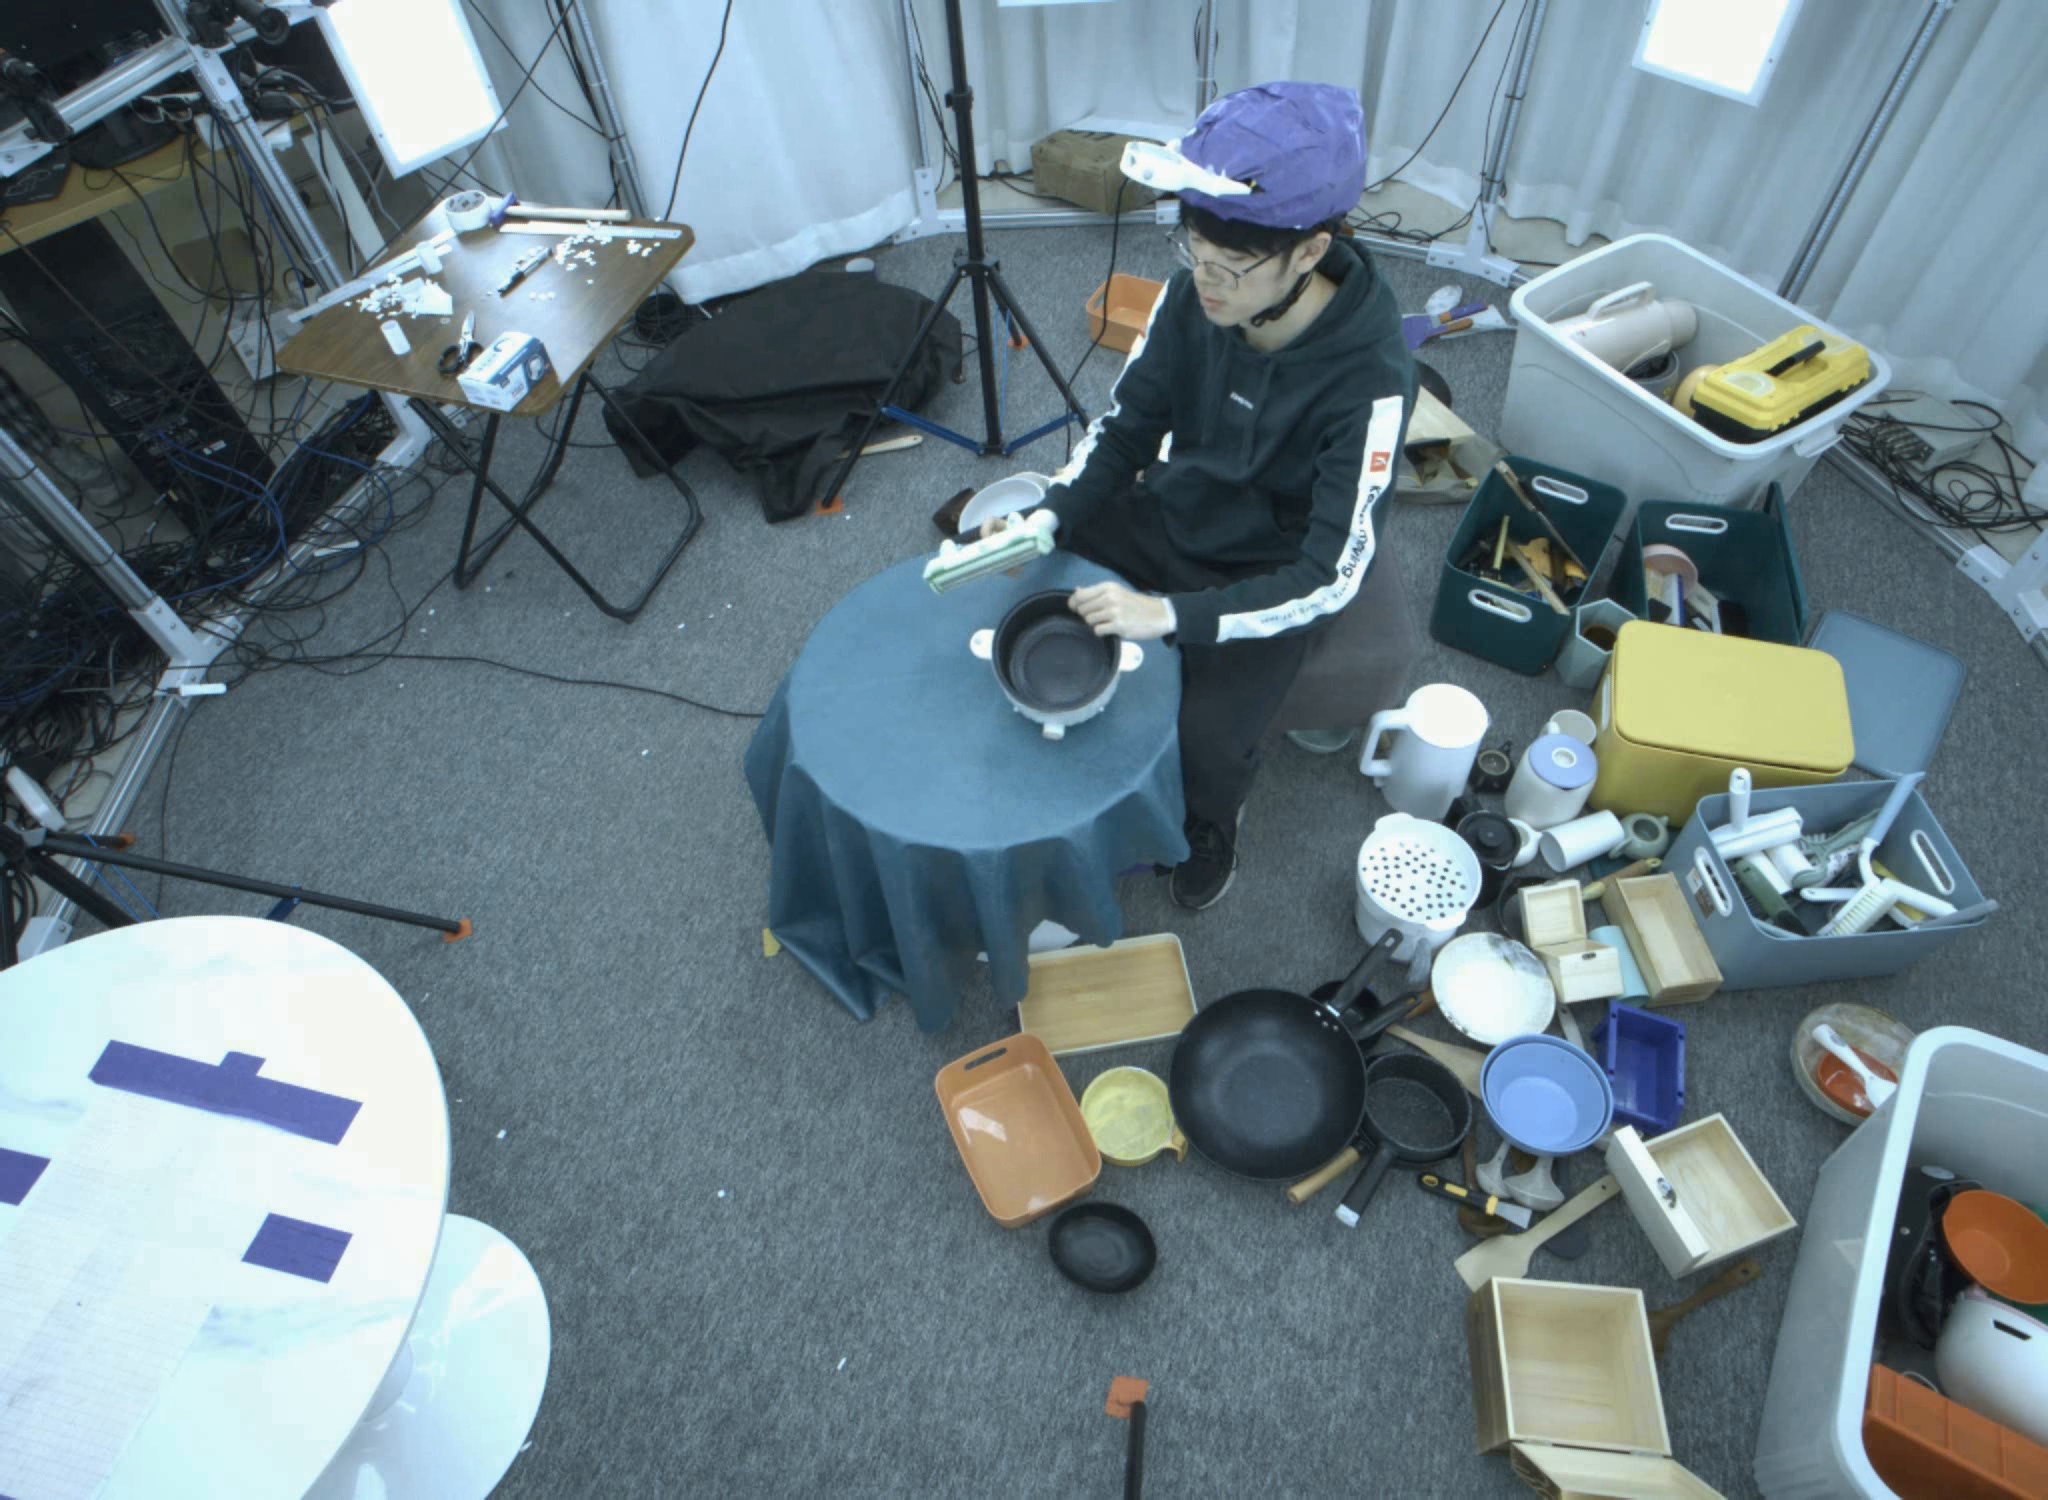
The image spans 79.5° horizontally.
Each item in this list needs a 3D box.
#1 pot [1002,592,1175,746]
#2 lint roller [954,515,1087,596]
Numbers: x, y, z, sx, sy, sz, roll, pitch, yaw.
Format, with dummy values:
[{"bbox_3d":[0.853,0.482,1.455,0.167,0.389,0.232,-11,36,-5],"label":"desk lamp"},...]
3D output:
[{"bbox_3d":[0.094,-0.112,1.750,0.239,0.144,0.190,6,76,6],"label":"pot"},{"bbox_3d":[0.010,-0.303,1.842,0.196,0.083,0.184,-15,14,25],"label":"lint roller"}]
